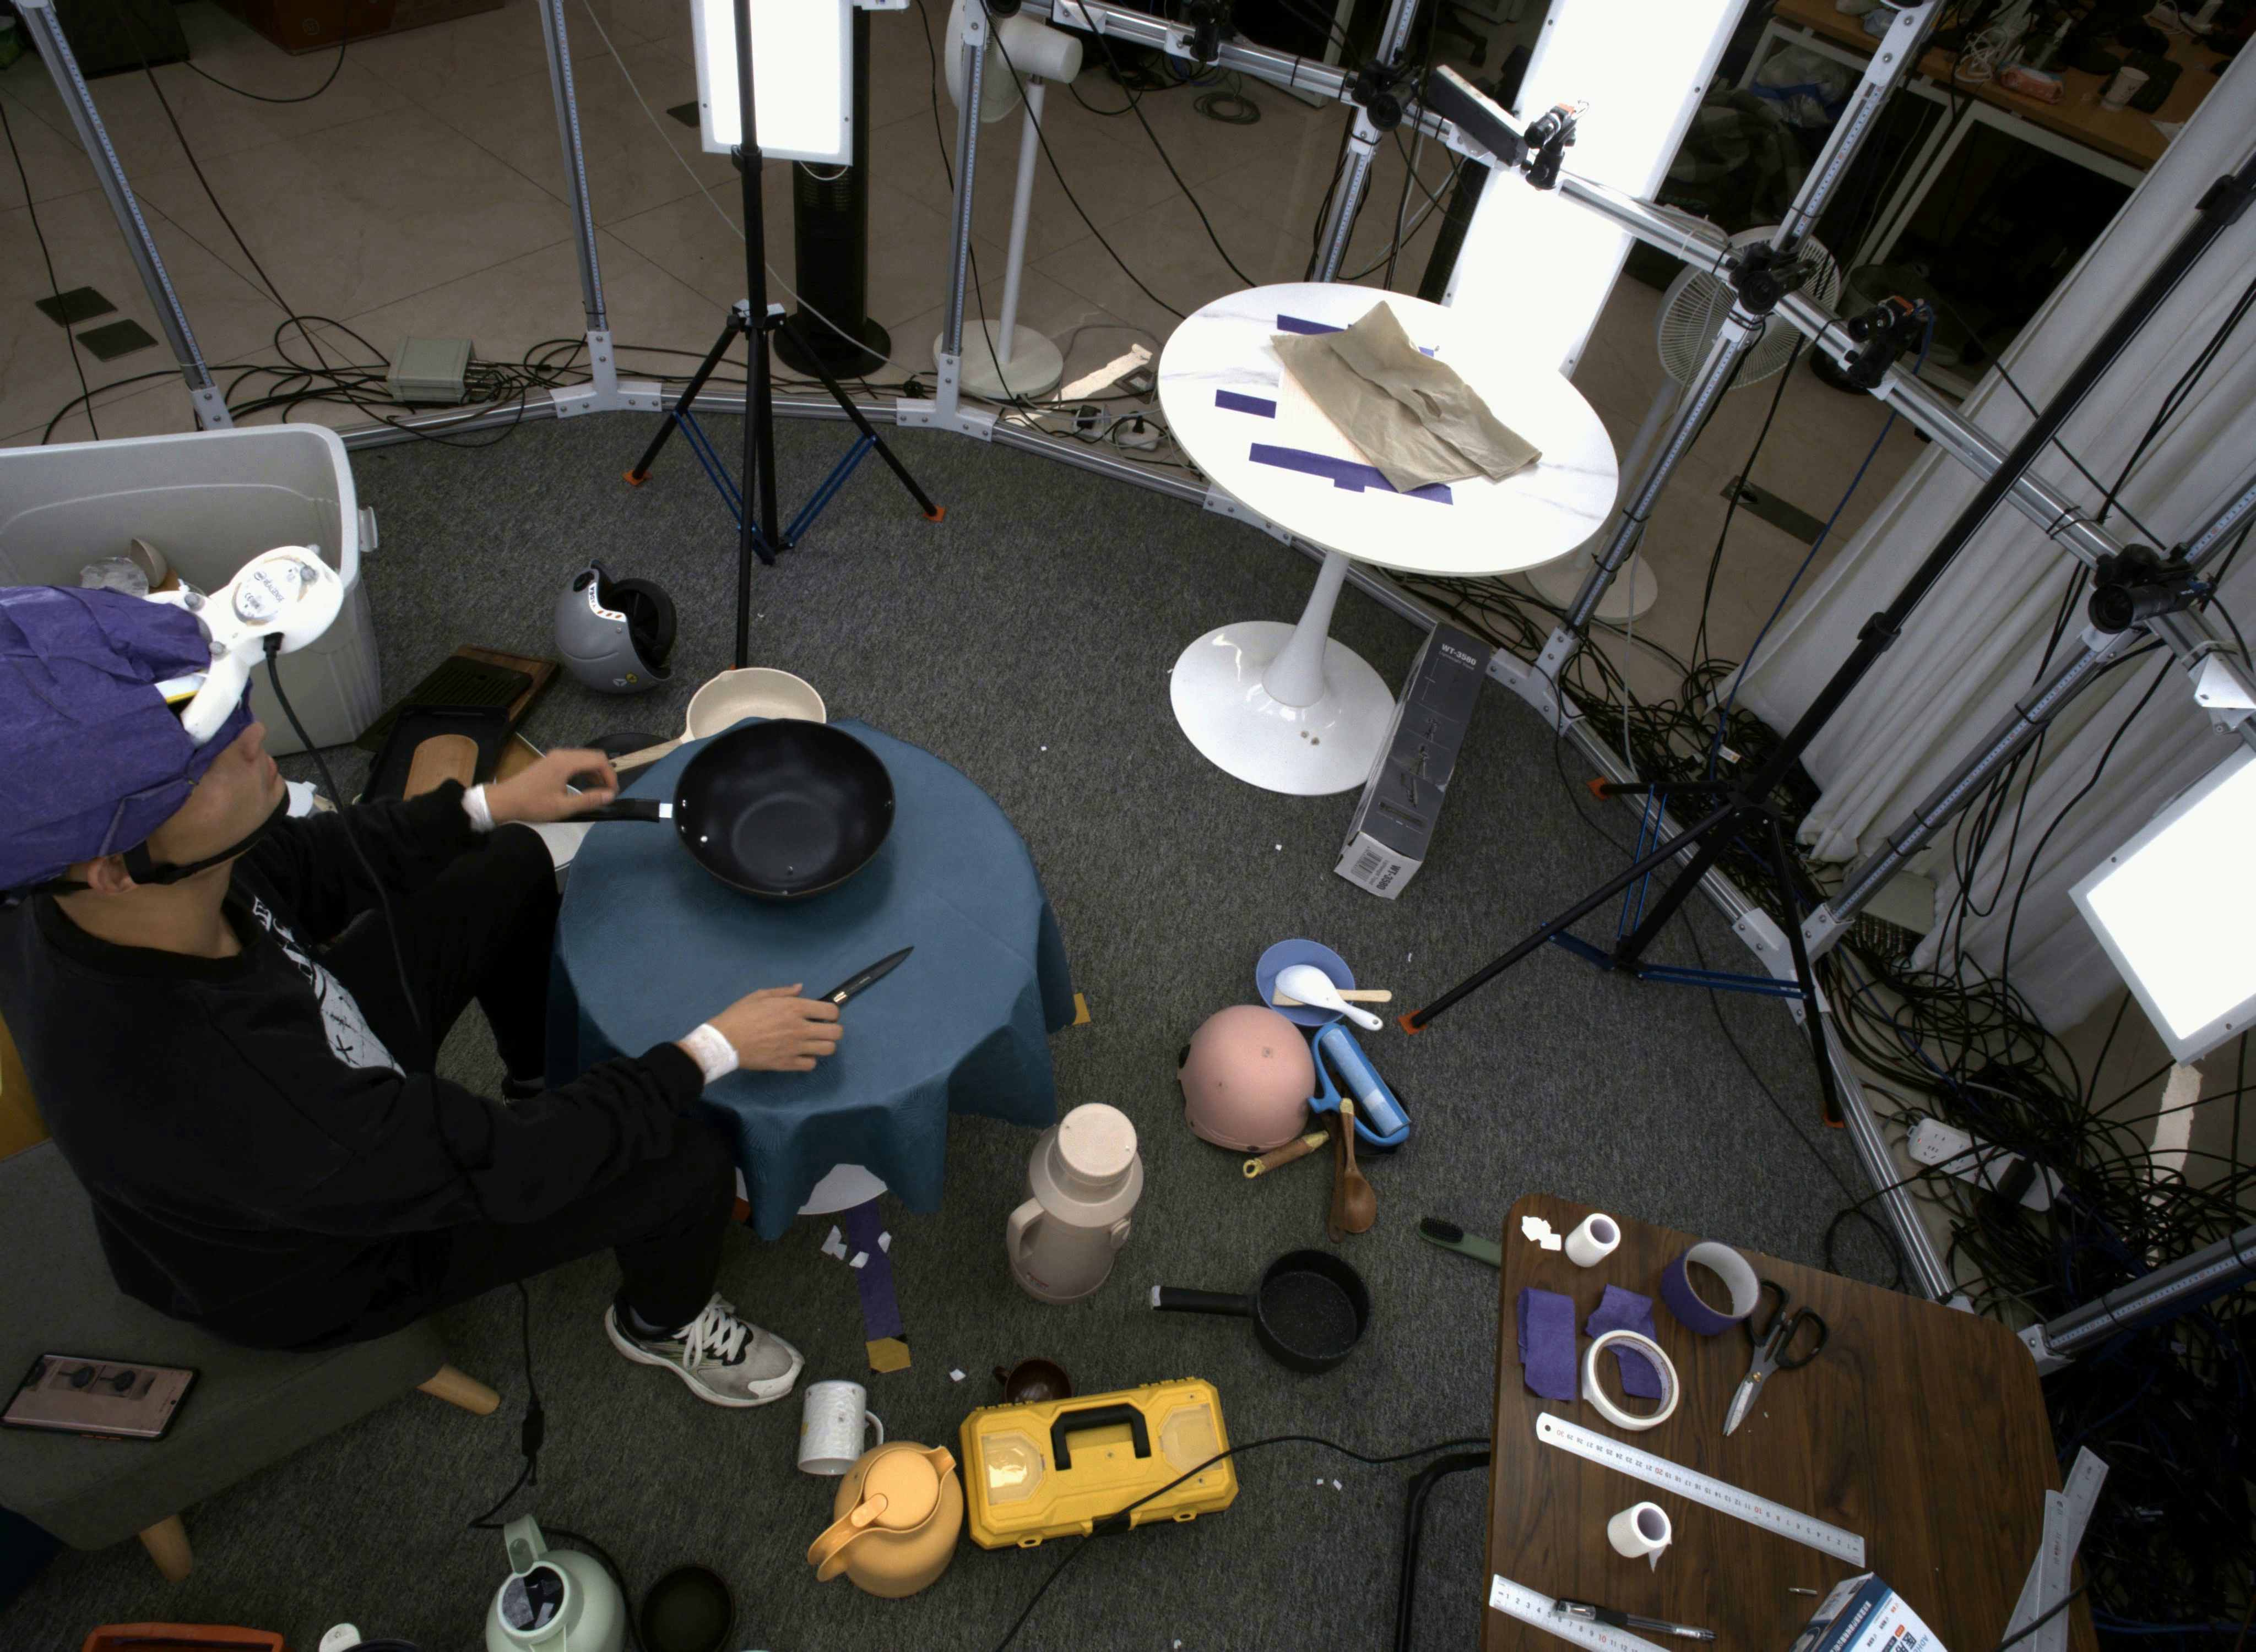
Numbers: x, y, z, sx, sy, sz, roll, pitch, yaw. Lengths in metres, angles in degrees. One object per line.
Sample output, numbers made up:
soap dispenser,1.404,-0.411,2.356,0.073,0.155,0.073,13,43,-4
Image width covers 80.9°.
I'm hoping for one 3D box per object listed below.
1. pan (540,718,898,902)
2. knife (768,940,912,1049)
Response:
pan,-0.526,-0.004,1.646,0.464,0.088,0.282,-3,54,-15
knife,-0.347,0.200,1.586,0.025,0.018,0.226,32,50,30
